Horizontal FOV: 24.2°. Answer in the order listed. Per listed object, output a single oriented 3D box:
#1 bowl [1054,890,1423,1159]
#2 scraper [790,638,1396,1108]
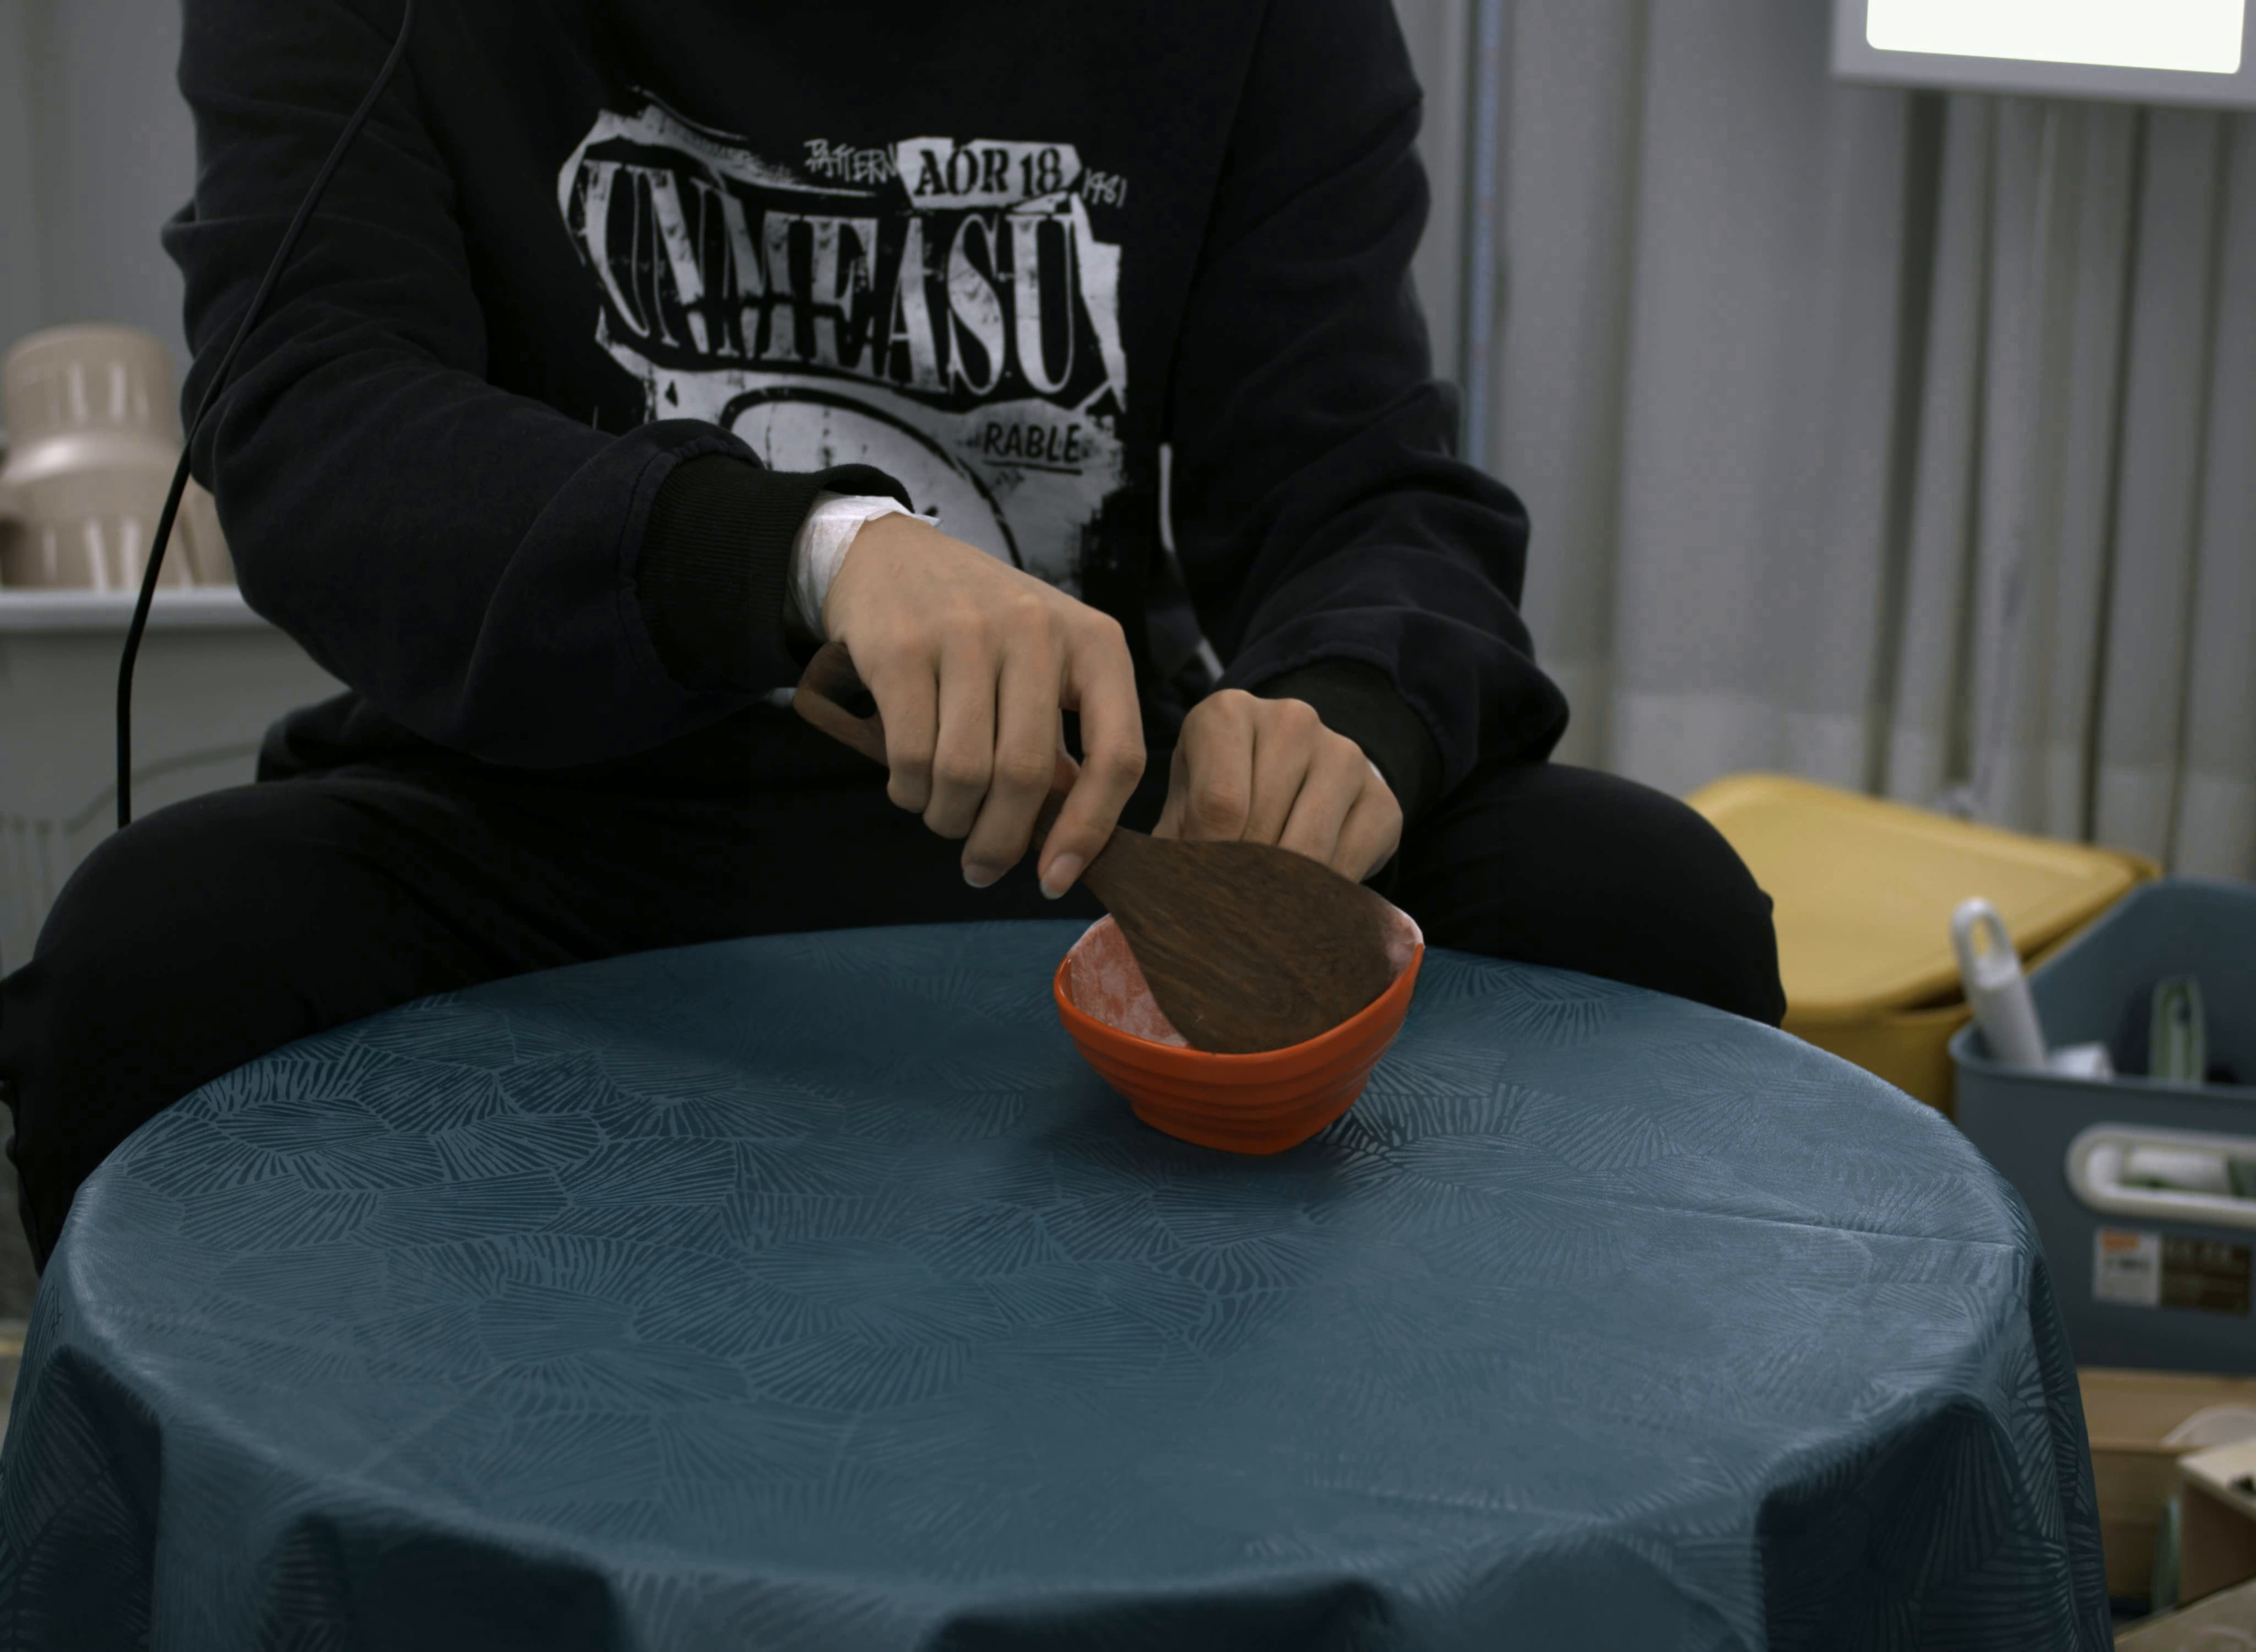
[{"bbox_3d":[0.037,0.065,1.681,0.118,0.052,0.118,-5,30,3],"label":"bowl"},{"bbox_3d":[-0.016,0.005,1.657,0.210,0.076,0.011,33,3,8],"label":"scraper"}]
